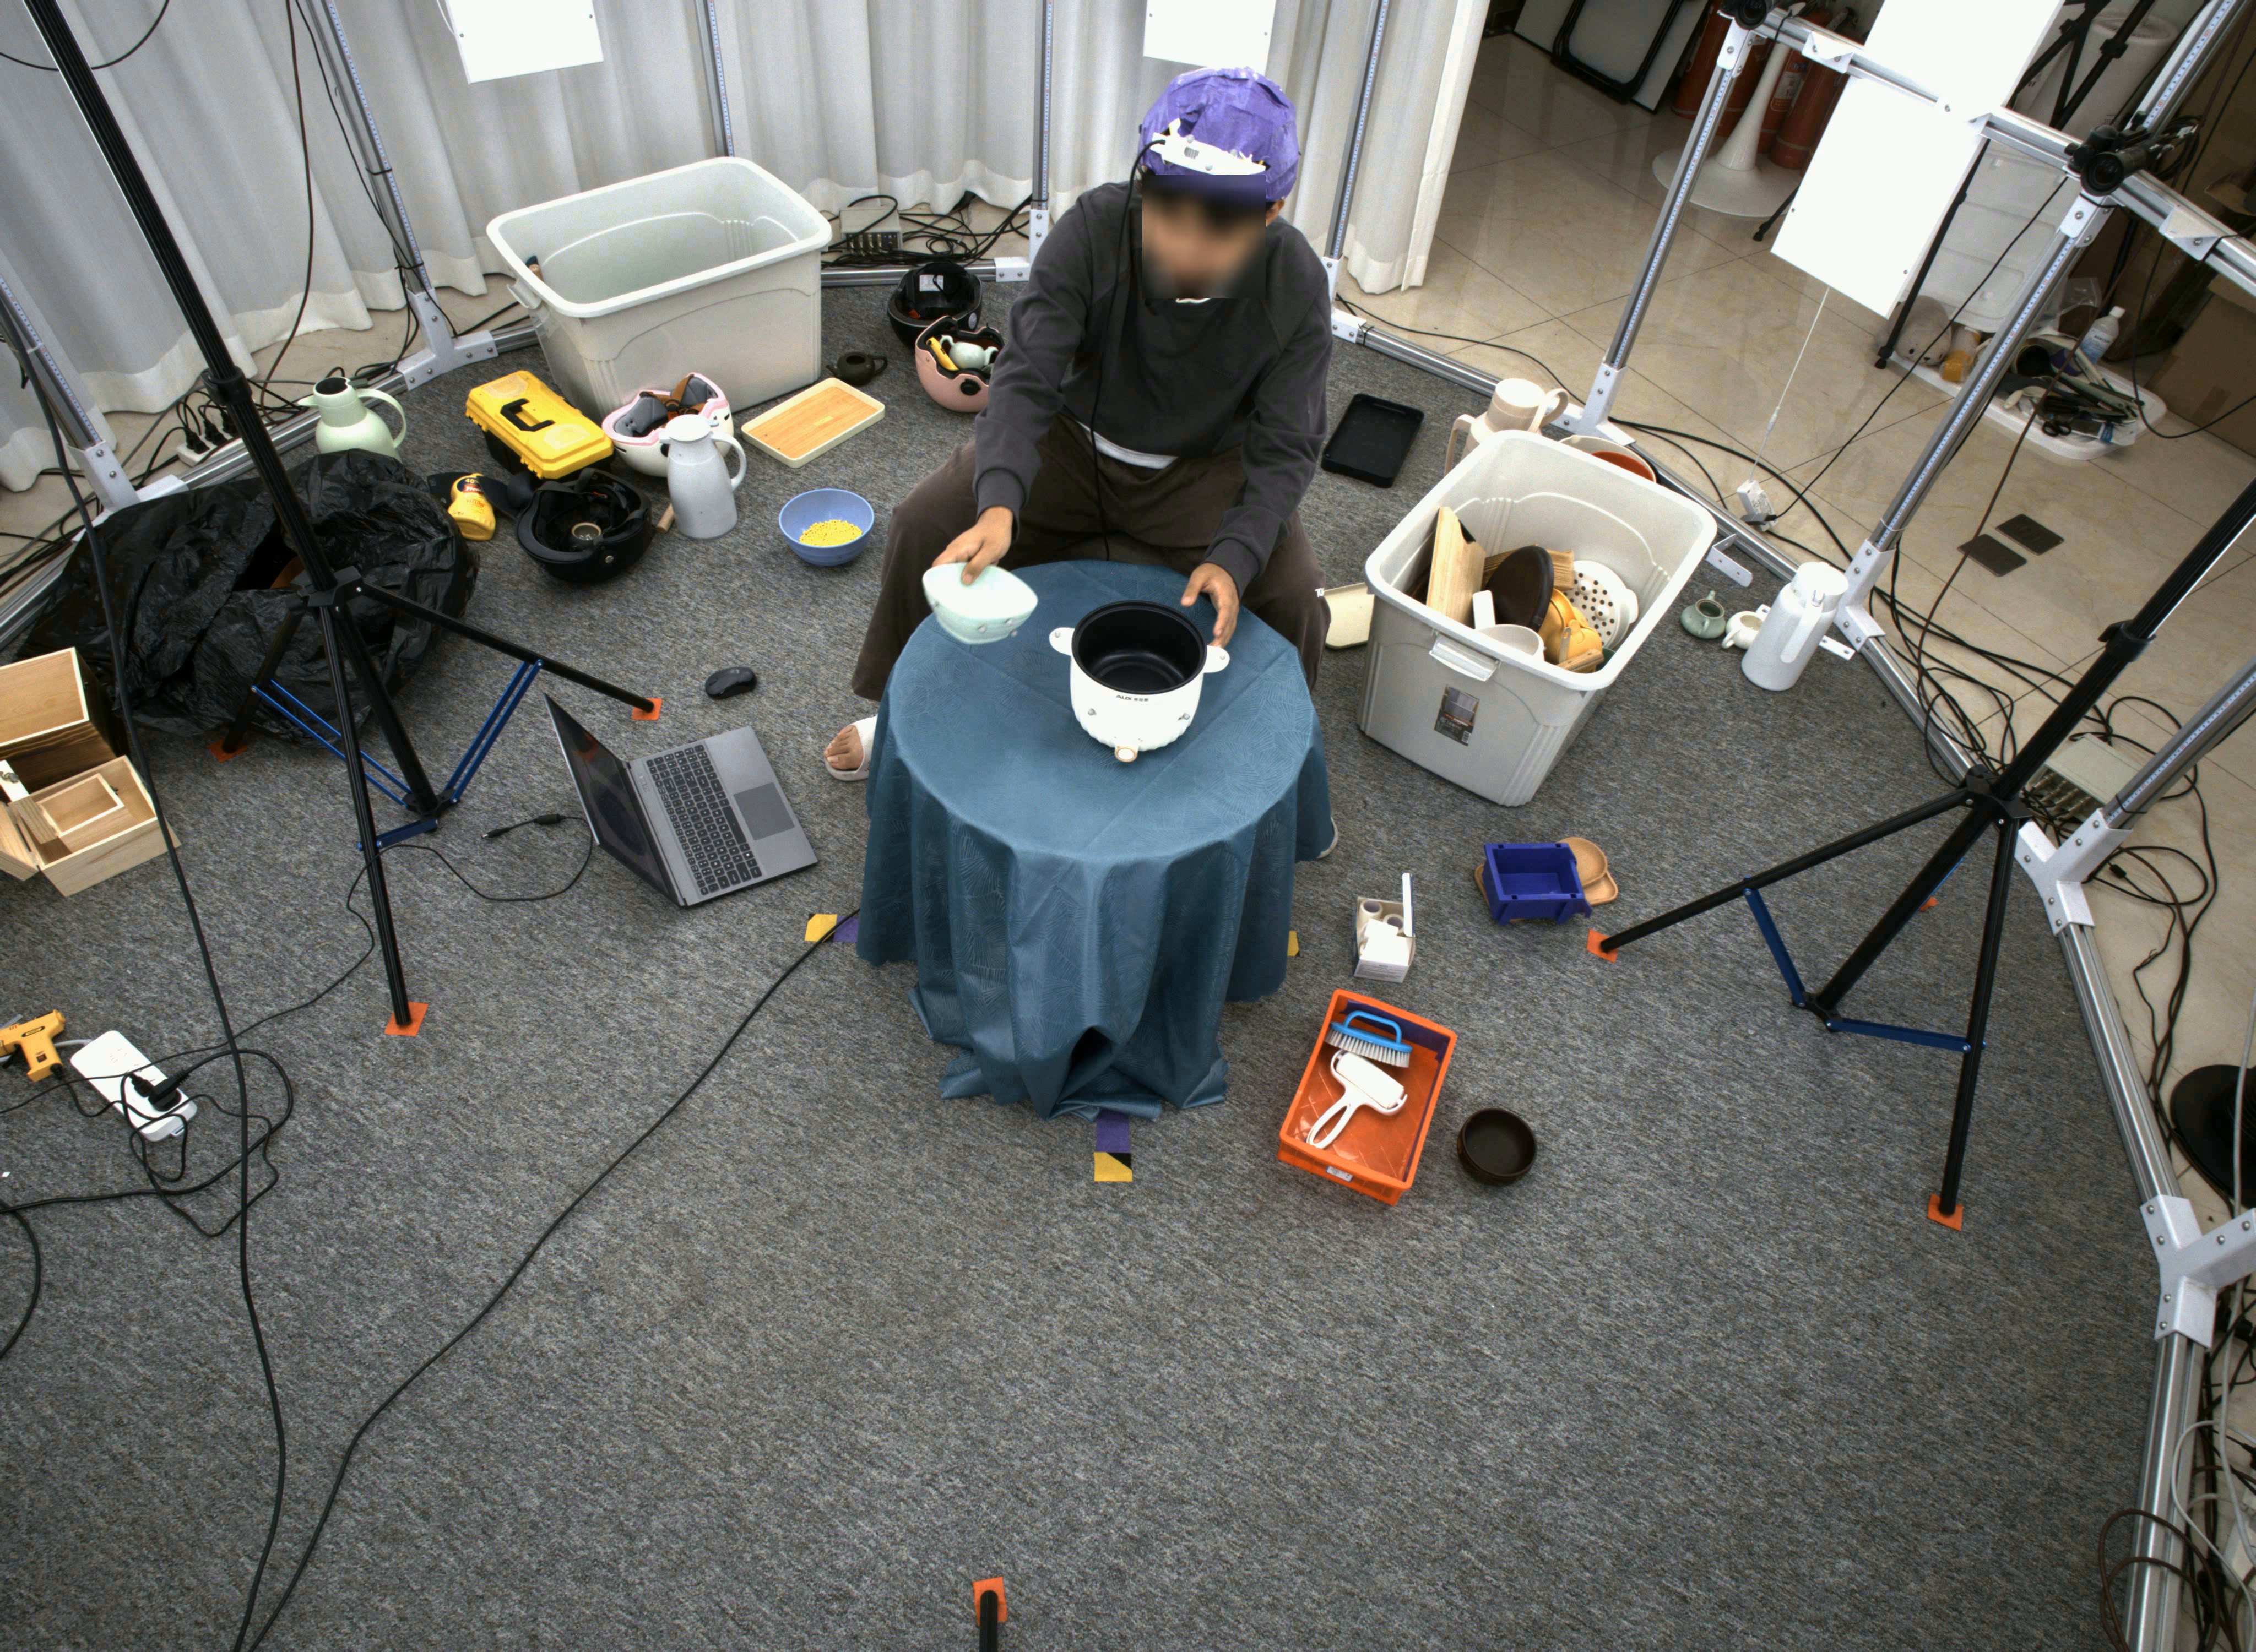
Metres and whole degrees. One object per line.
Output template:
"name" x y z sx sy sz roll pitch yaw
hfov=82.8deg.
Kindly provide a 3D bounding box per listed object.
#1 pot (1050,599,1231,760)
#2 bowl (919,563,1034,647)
"pot" 0.014 -0.196 1.745 0.240 0.139 0.195 5 46 2
"bowl" -0.203 -0.285 1.699 0.151 0.057 0.155 11 37 -8
